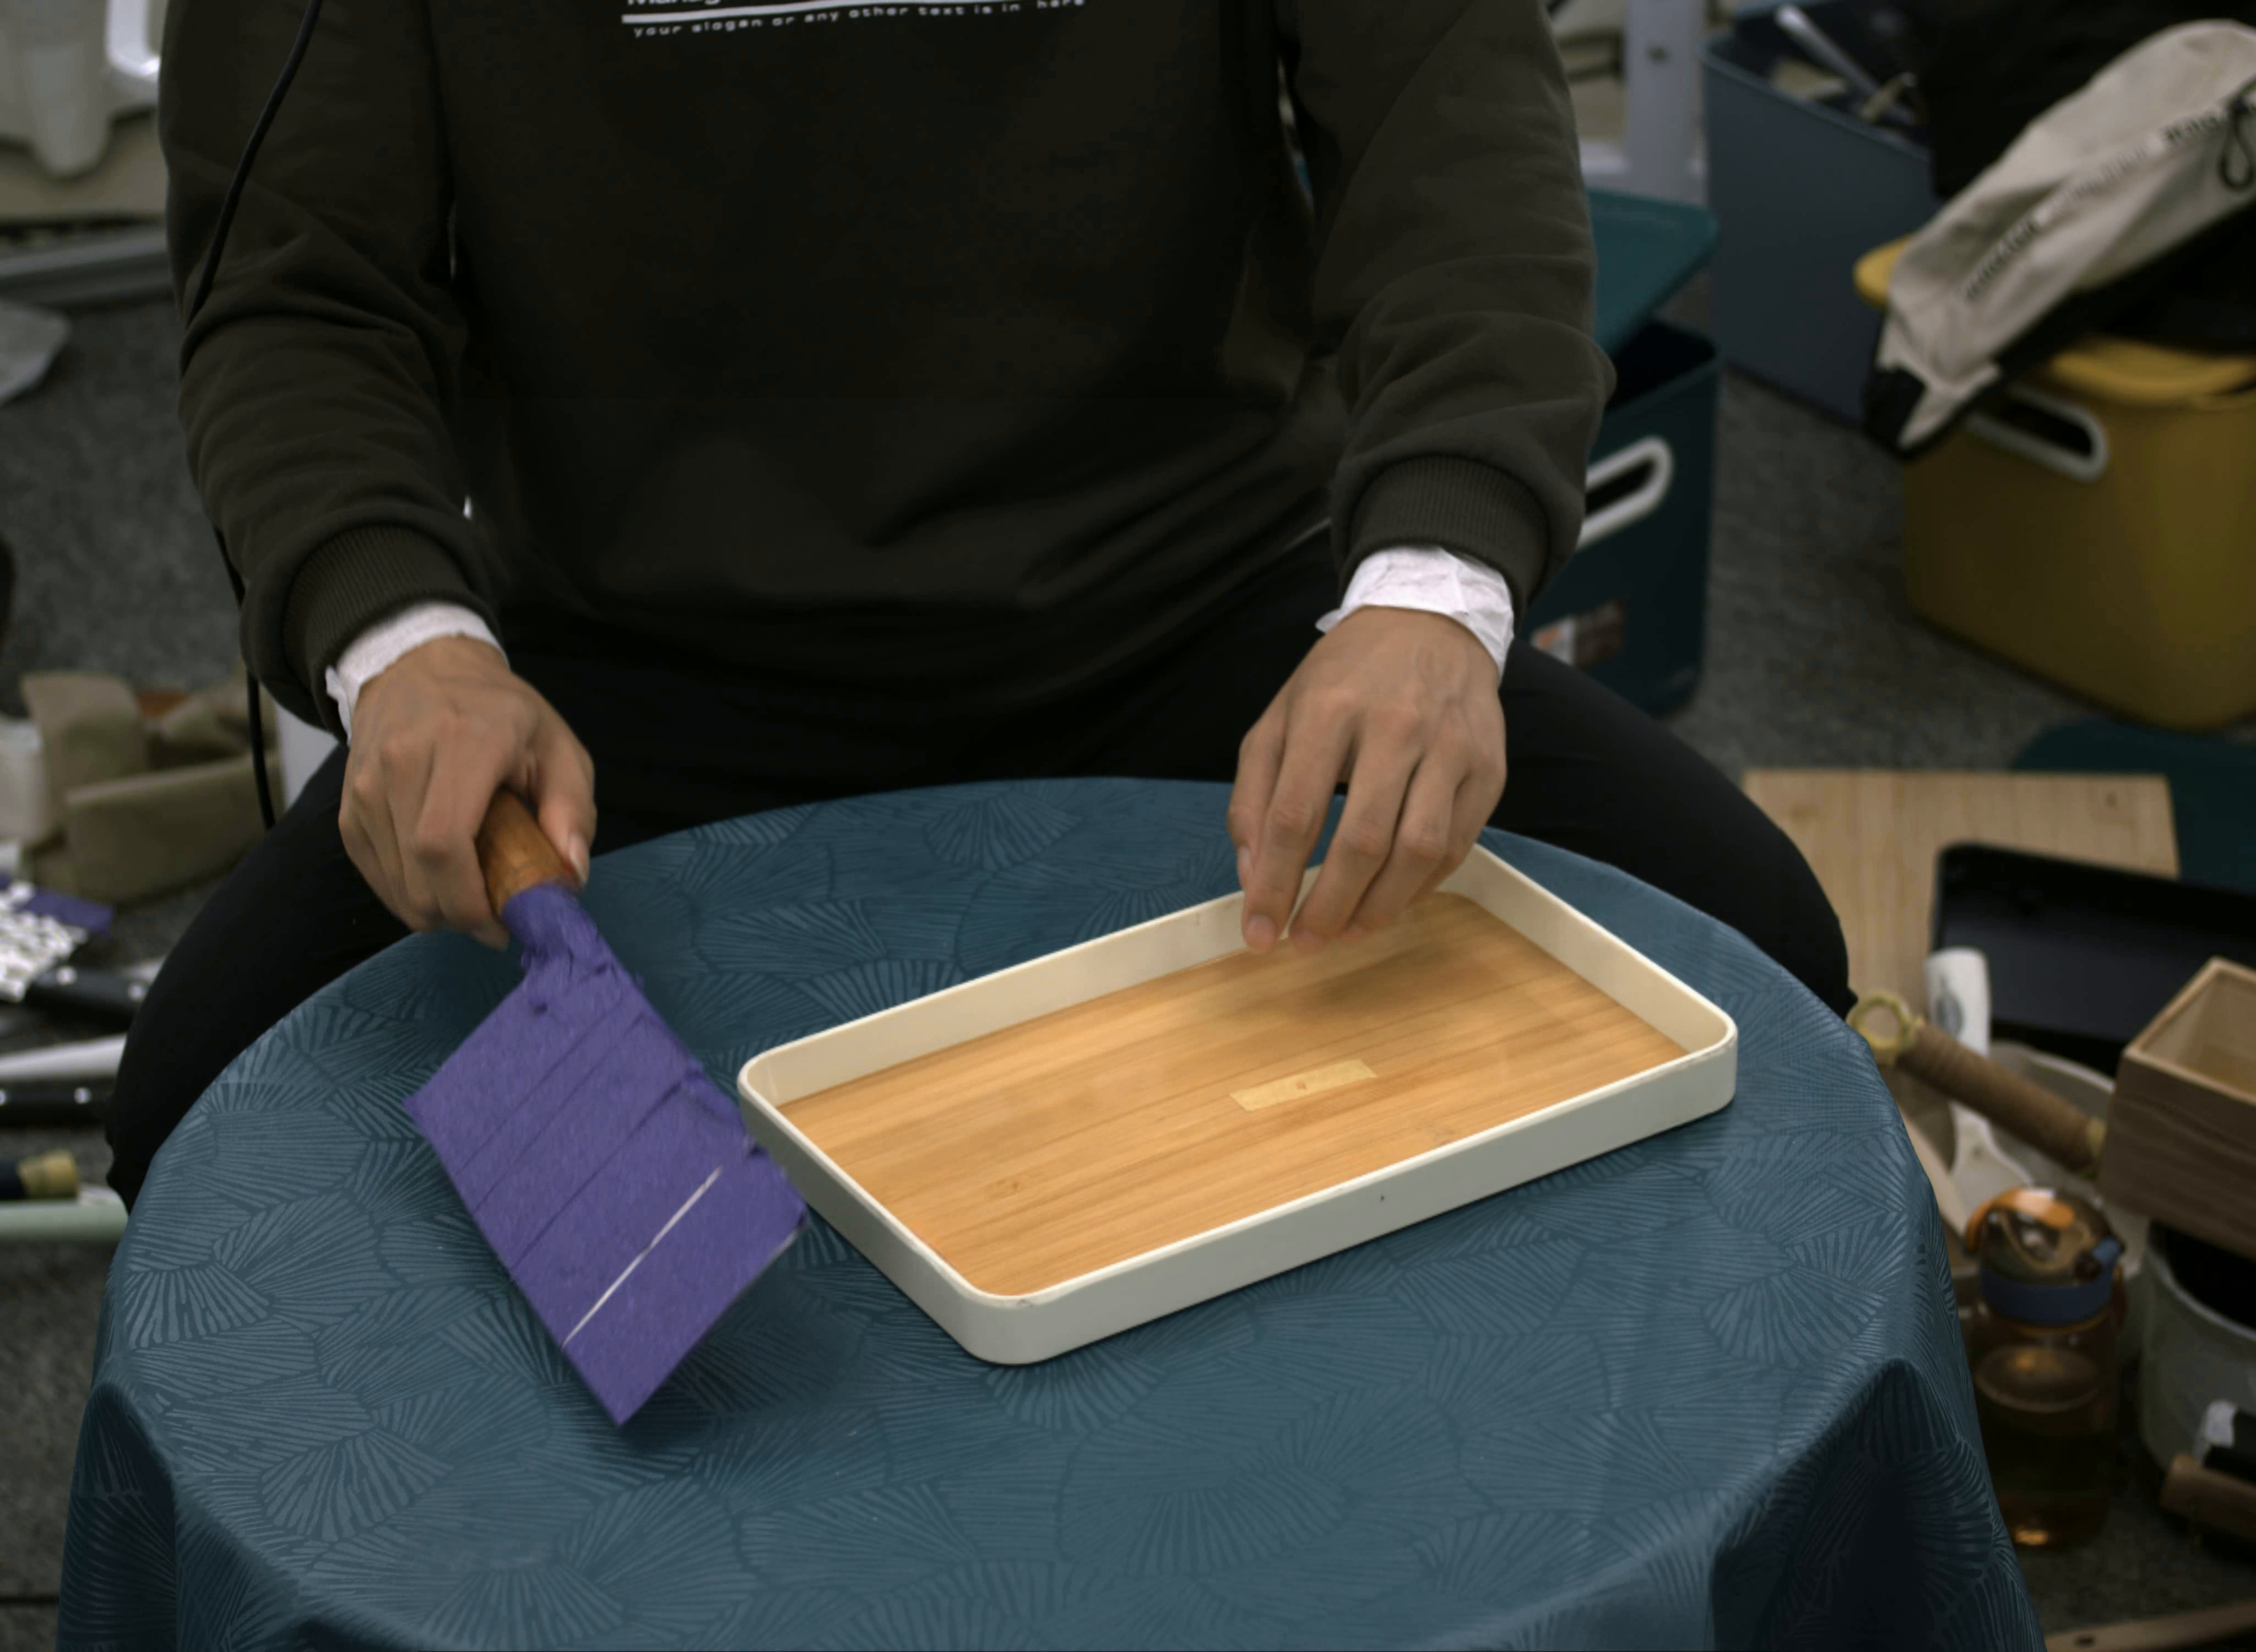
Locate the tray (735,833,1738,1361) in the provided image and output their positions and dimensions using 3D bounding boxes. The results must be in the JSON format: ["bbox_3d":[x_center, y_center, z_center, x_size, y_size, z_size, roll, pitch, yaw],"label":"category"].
[{"bbox_3d":[0.037,0.087,1.897,0.302,0.027,0.192,-18,30,-26],"label":"tray"}]

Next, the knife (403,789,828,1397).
[{"bbox_3d":[-0.193,0.084,1.846,0.104,0.032,0.317,-45,35,-1],"label":"knife"}]
